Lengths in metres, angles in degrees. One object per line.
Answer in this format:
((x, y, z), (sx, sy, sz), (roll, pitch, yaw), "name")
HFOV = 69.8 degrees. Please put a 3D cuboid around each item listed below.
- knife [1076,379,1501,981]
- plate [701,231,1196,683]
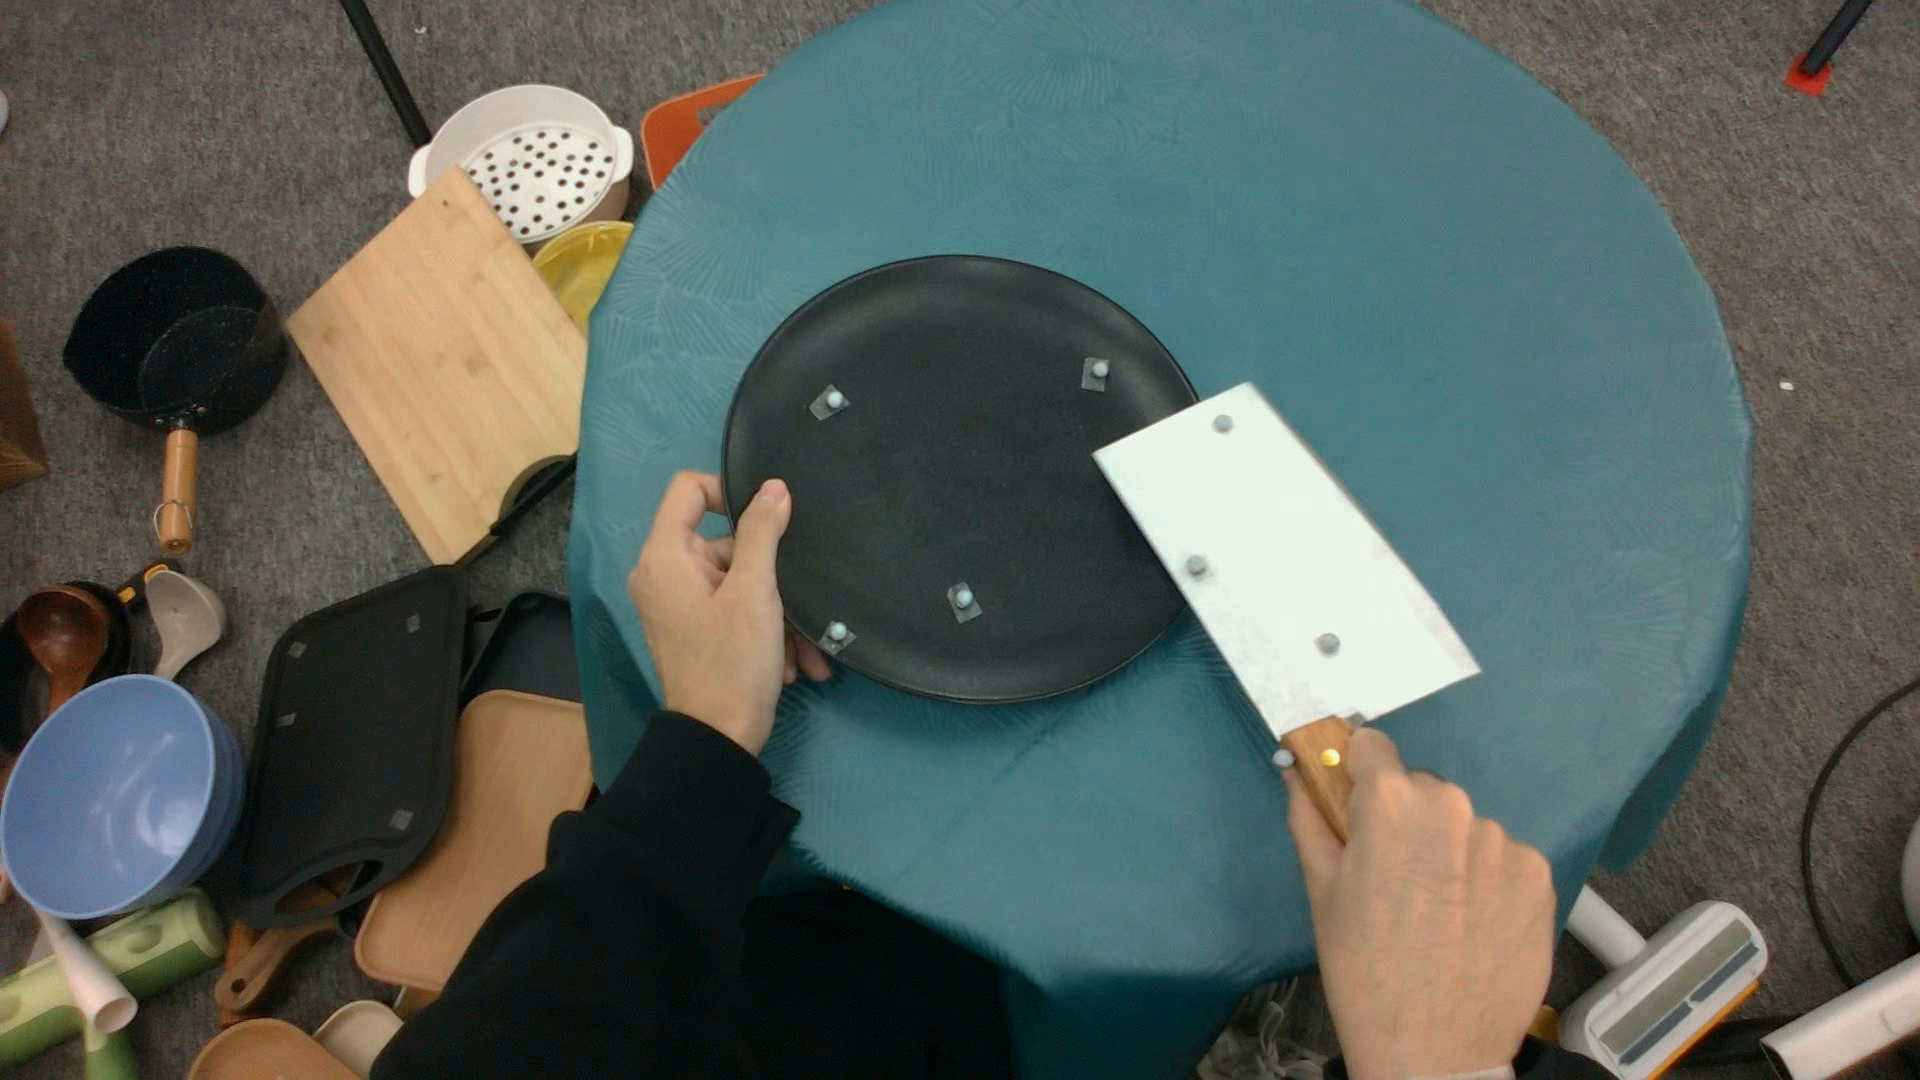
((0.152, 0.037, 0.599), (0.093, 0.021, 0.306), (-25, 54, -5), "knife")
((-0.003, -0.044, 0.671), (0.244, 0.023, 0.245), (3, 66, -6), "plate")
